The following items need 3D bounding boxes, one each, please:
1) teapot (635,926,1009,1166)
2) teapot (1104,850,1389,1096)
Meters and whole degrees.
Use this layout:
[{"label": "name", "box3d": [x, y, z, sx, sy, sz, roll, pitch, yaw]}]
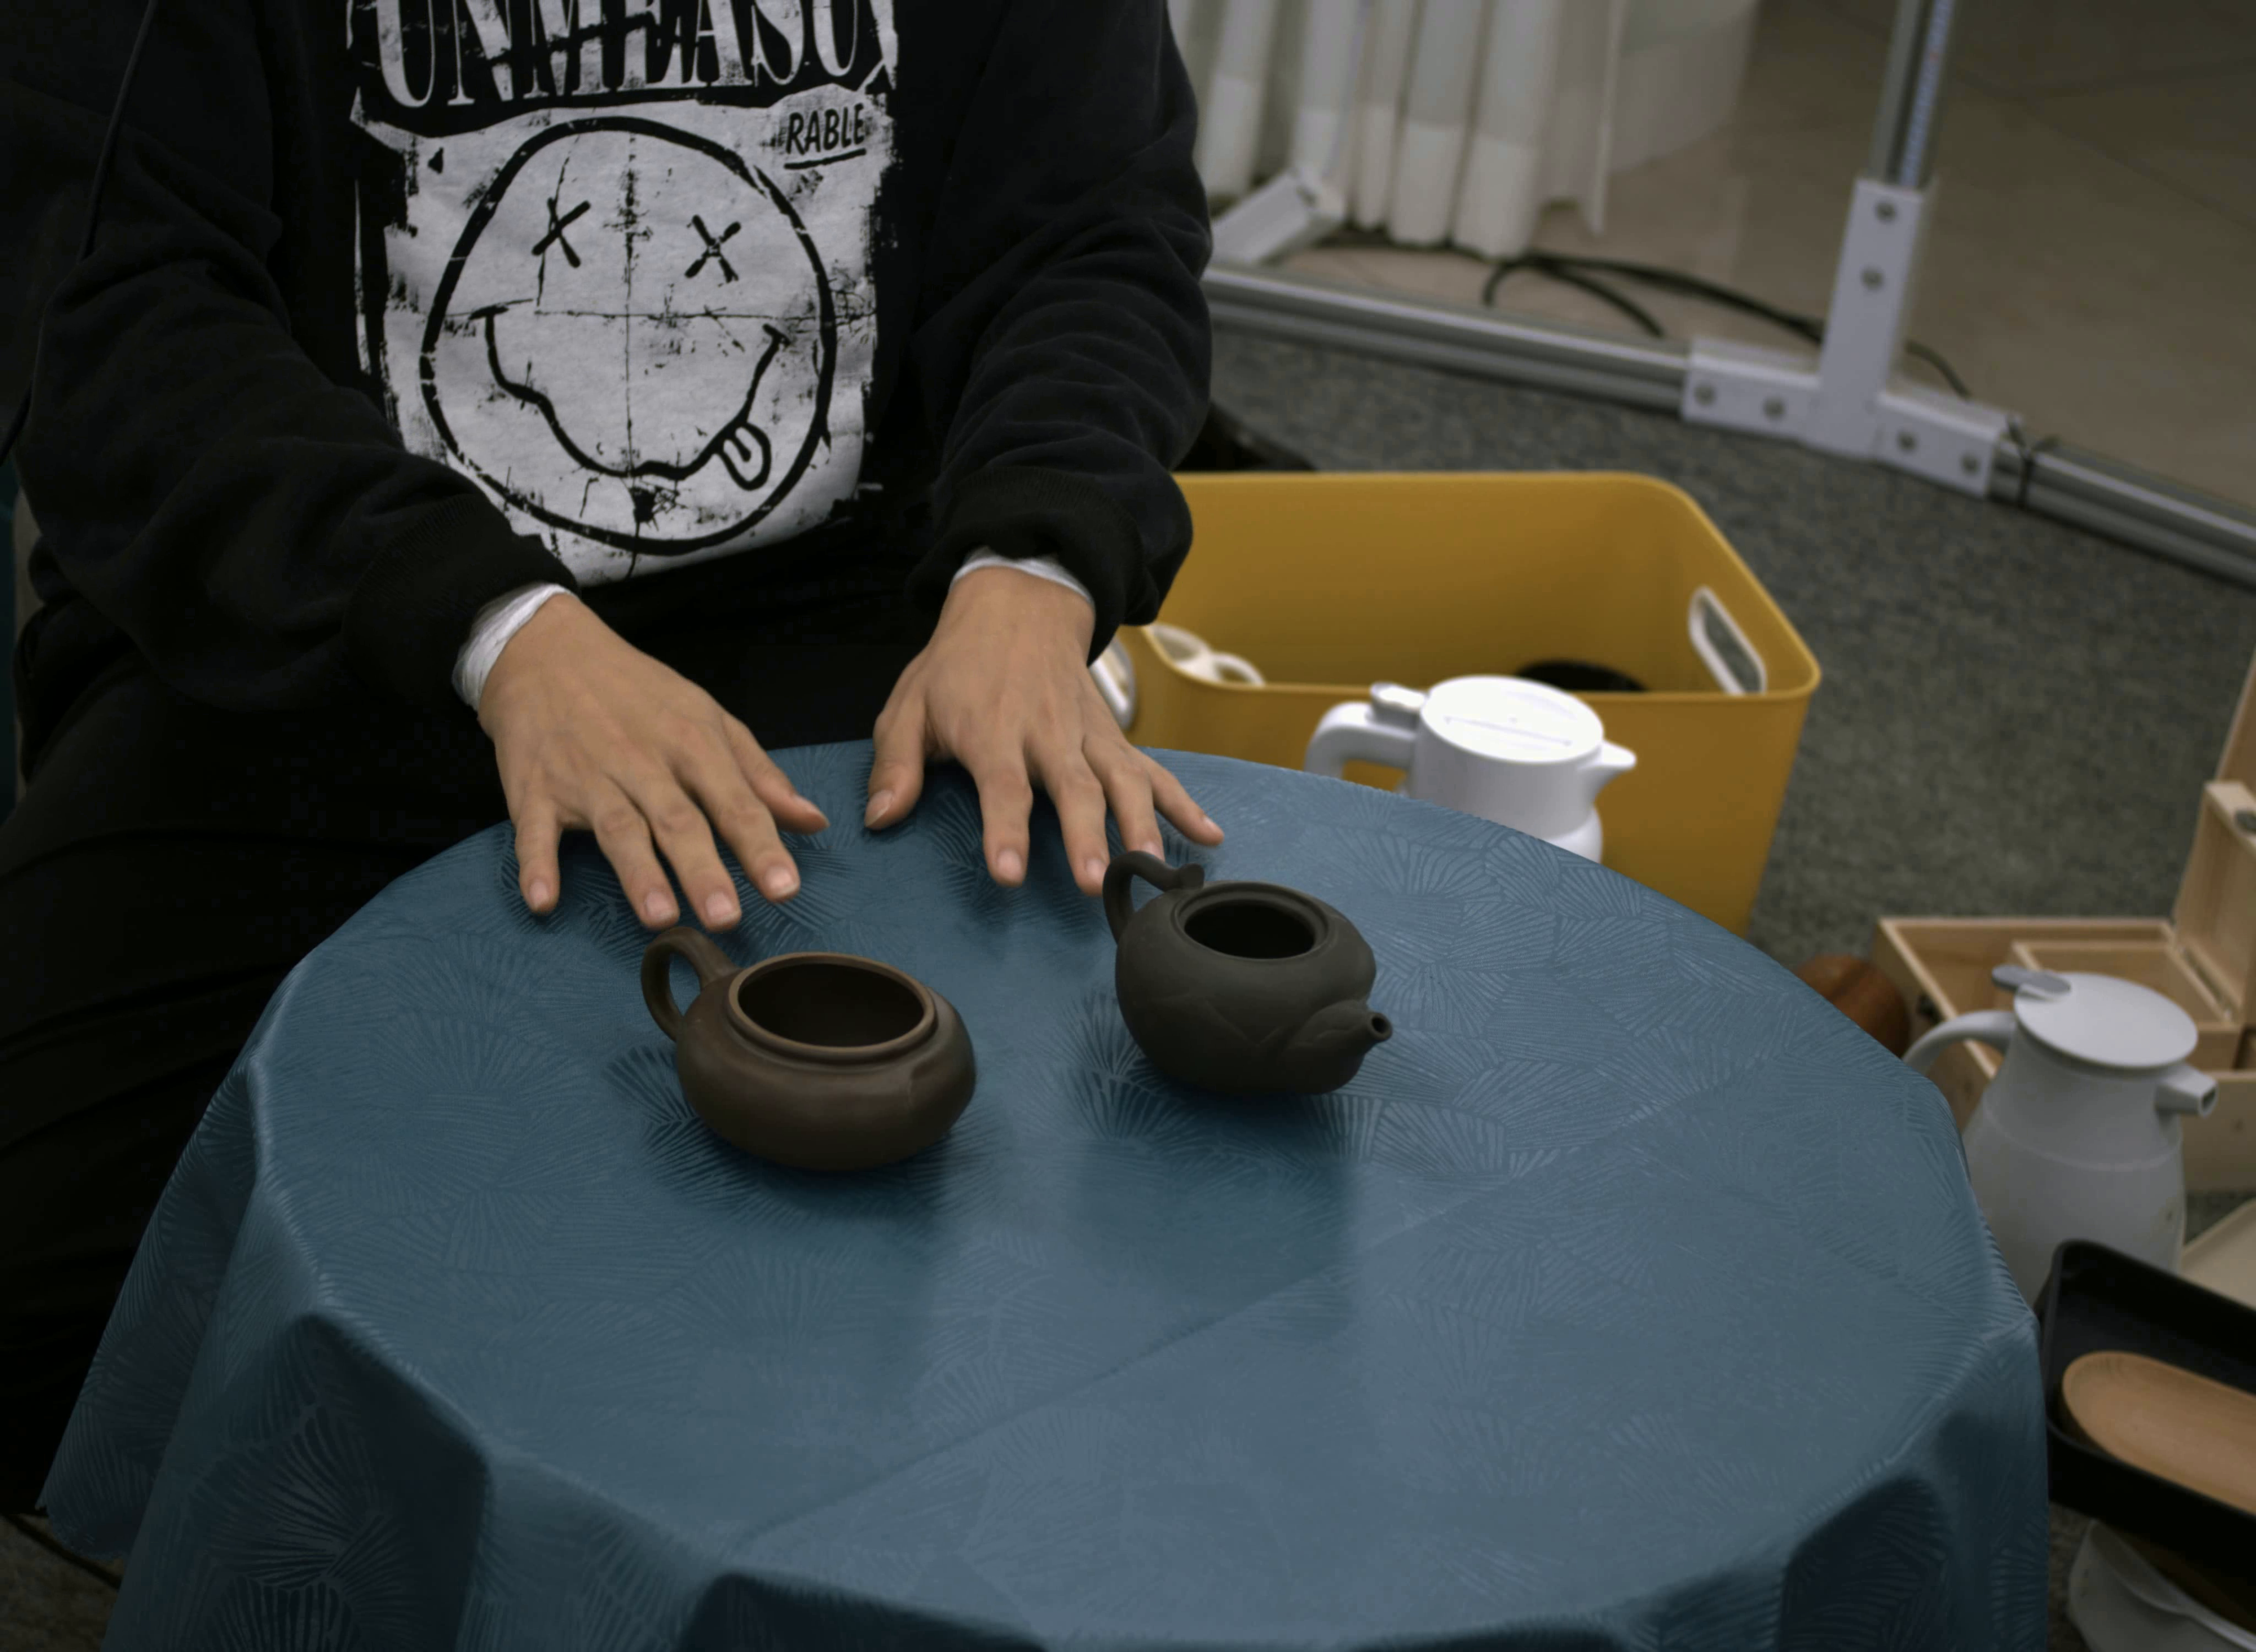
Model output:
[{"label": "teapot", "box3d": [-0.106, 0.076, 1.814, 0.154, 0.053, 0.102, 21, 27, 25]}, {"label": "teapot", "box3d": [0.039, 0.055, 1.879, 0.092, 0.064, 0.155, -12, 33, -36]}]
